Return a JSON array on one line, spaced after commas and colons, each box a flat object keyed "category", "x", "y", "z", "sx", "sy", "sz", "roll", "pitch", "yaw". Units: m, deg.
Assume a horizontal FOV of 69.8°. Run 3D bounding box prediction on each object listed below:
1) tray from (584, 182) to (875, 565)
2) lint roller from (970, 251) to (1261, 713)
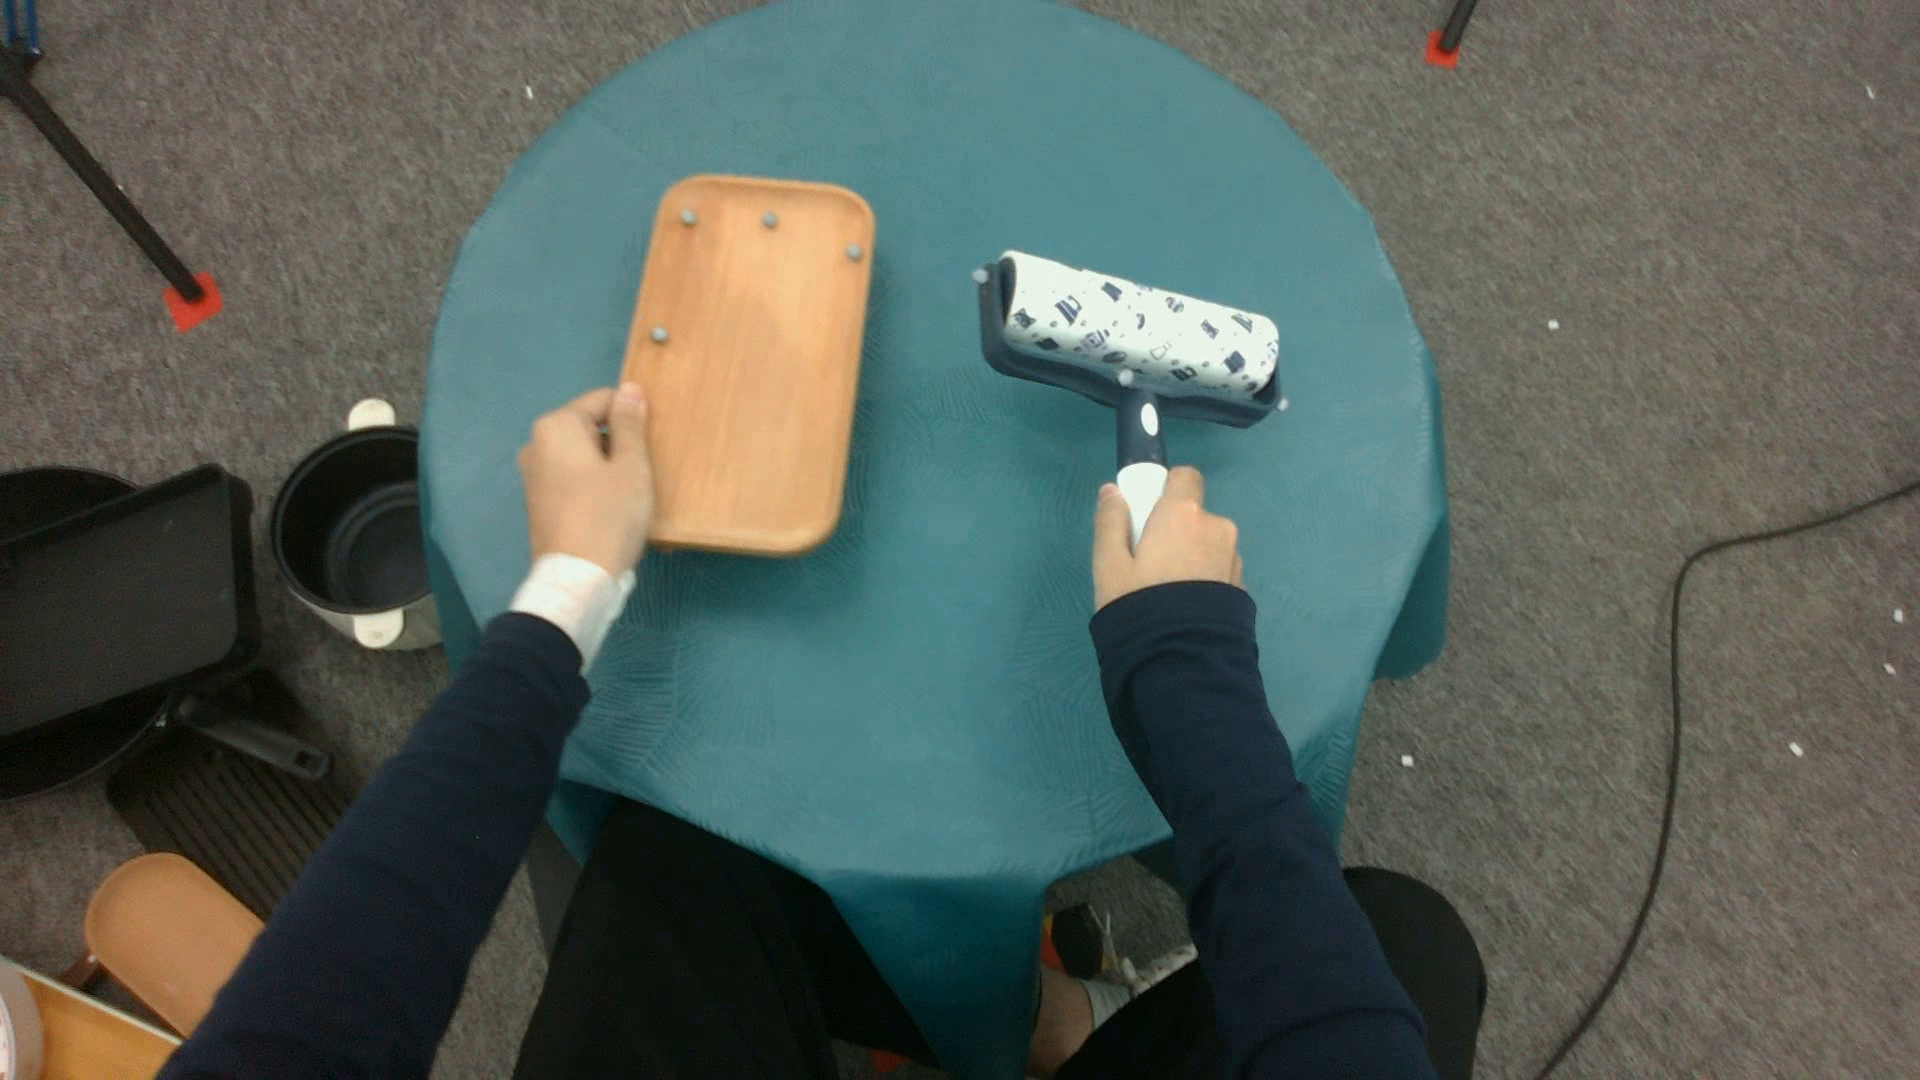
[{"category": "tray", "x": -0.123, "y": -0.100, "z": 0.774, "sx": 0.130, "sy": 0.023, "sz": 0.252, "roll": 7, "pitch": 61, "yaw": 0}, {"category": "lint roller", "x": 0.089, "y": -0.030, "z": 0.732, "sx": 0.176, "sy": 0.050, "sz": 0.248, "roll": 12, "pitch": 61, "yaw": -21}]
